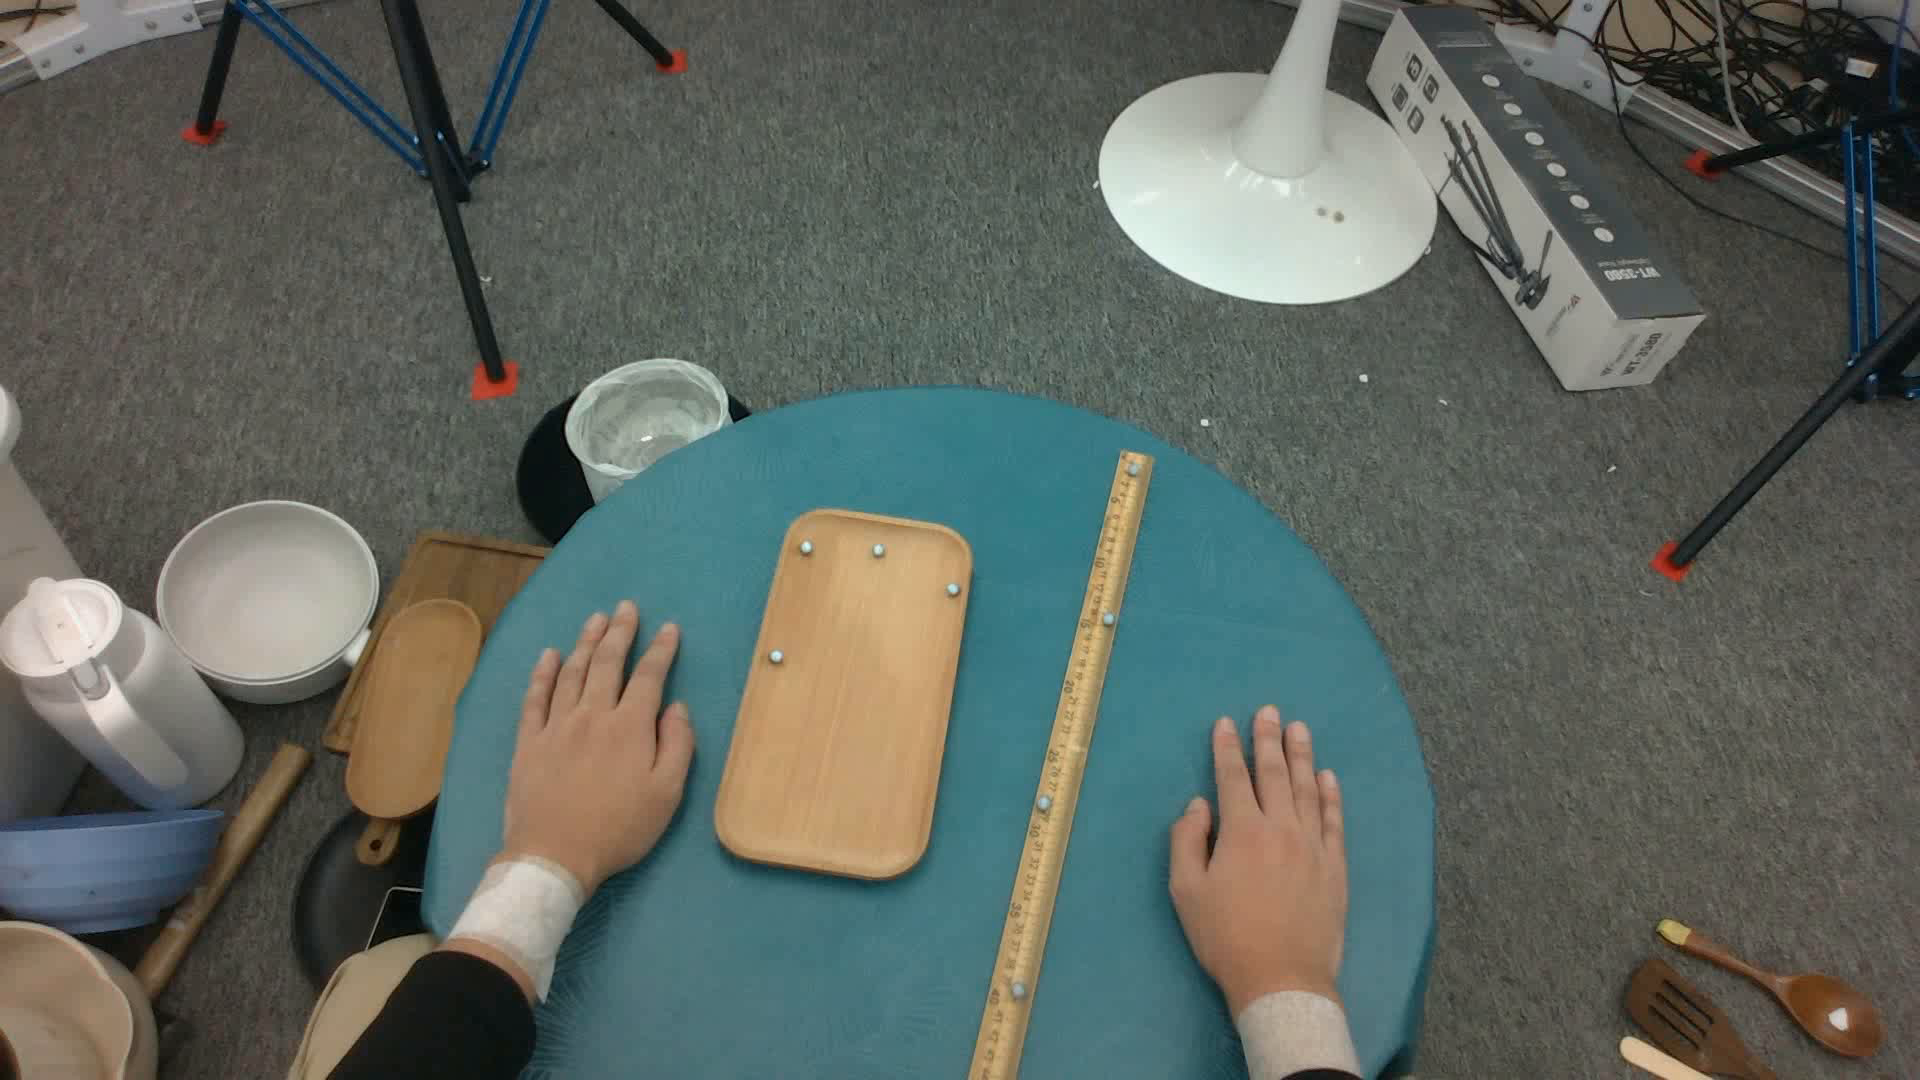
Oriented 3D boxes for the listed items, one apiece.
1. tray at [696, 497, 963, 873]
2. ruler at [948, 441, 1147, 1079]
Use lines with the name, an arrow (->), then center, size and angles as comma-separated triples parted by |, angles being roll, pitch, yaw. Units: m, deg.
tray -> -0.076, 0.083, 0.857 | 0.130, 0.023, 0.252 | 9, 56, 3
ruler -> 0.058, 0.129, 0.844 | 0.027, 0.006, 0.503 | 13, 55, 7
